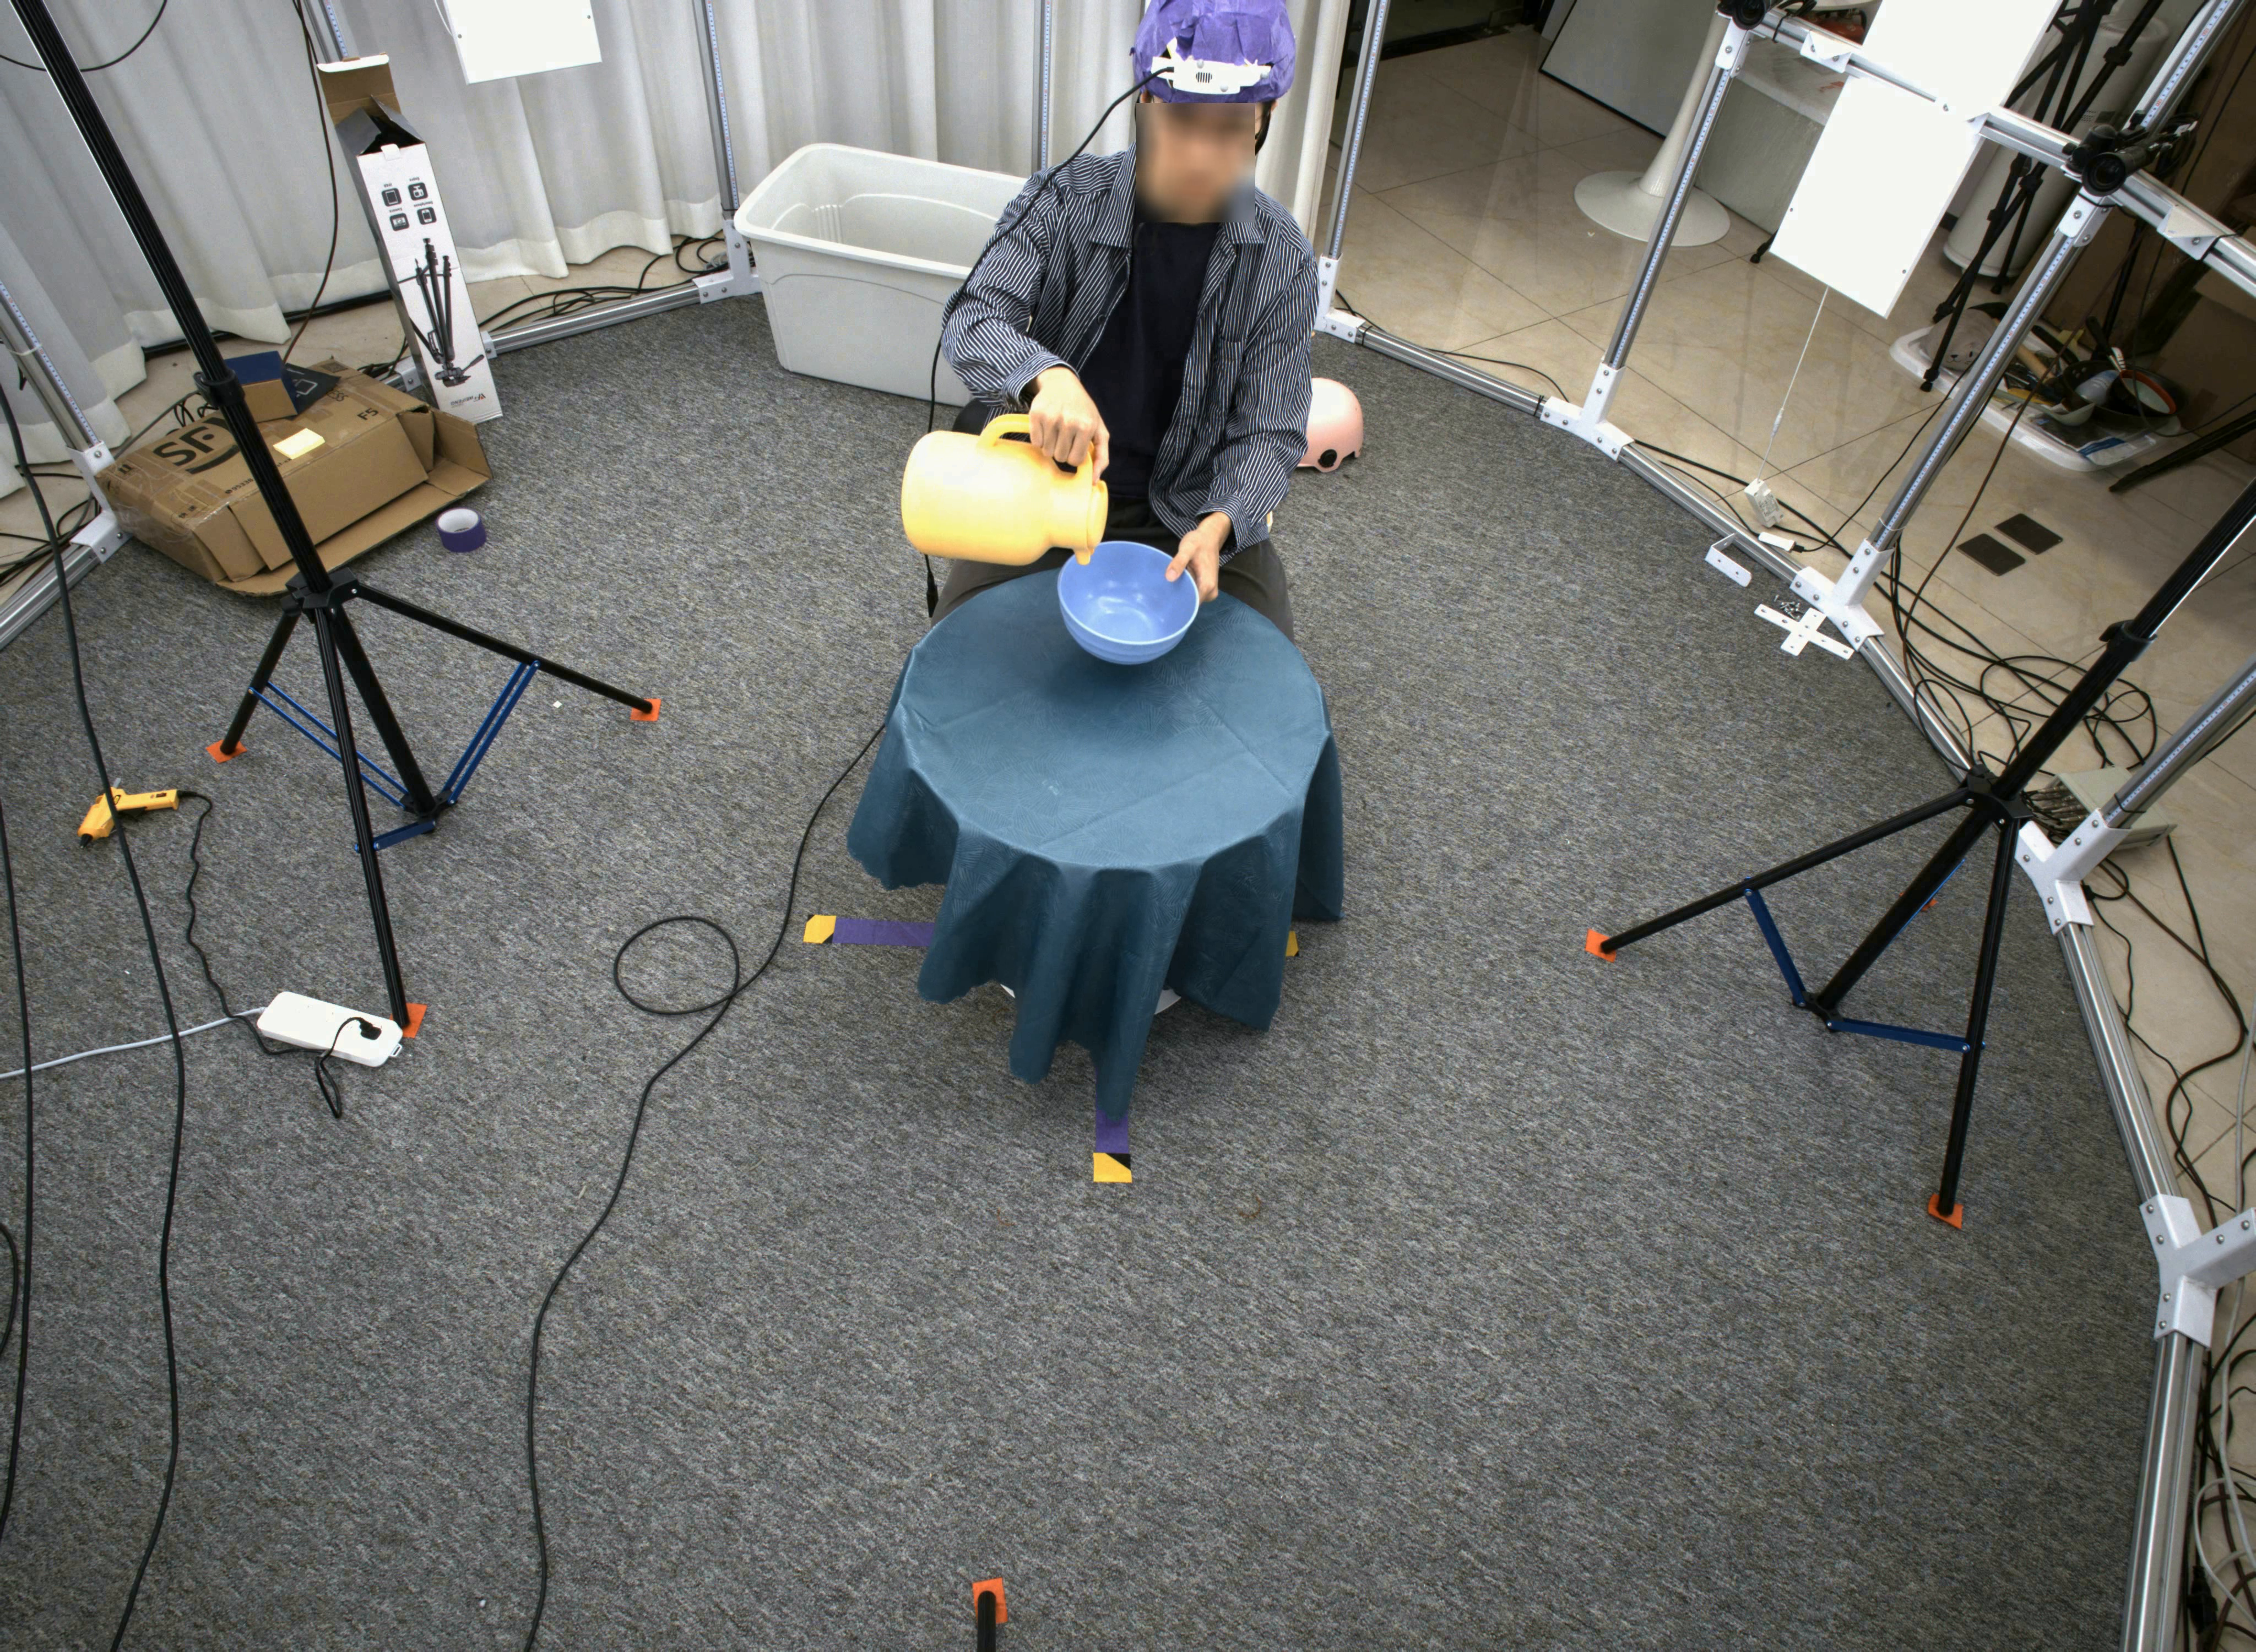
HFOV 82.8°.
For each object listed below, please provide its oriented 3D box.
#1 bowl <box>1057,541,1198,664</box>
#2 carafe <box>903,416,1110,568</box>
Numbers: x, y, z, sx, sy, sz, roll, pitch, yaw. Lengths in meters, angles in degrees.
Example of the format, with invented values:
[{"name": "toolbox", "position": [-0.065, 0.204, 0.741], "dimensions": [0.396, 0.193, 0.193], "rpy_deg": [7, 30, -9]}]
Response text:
[{"name": "bowl", "position": [-0.007, -0.296, 1.795], "dimensions": [0.196, 0.093, 0.201], "rpy_deg": [5, 53, -7]}, {"name": "carafe", "position": [-0.154, -0.439, 1.692], "dimensions": [0.261, 0.197, 0.167], "rpy_deg": [9, 41, 7]}]
